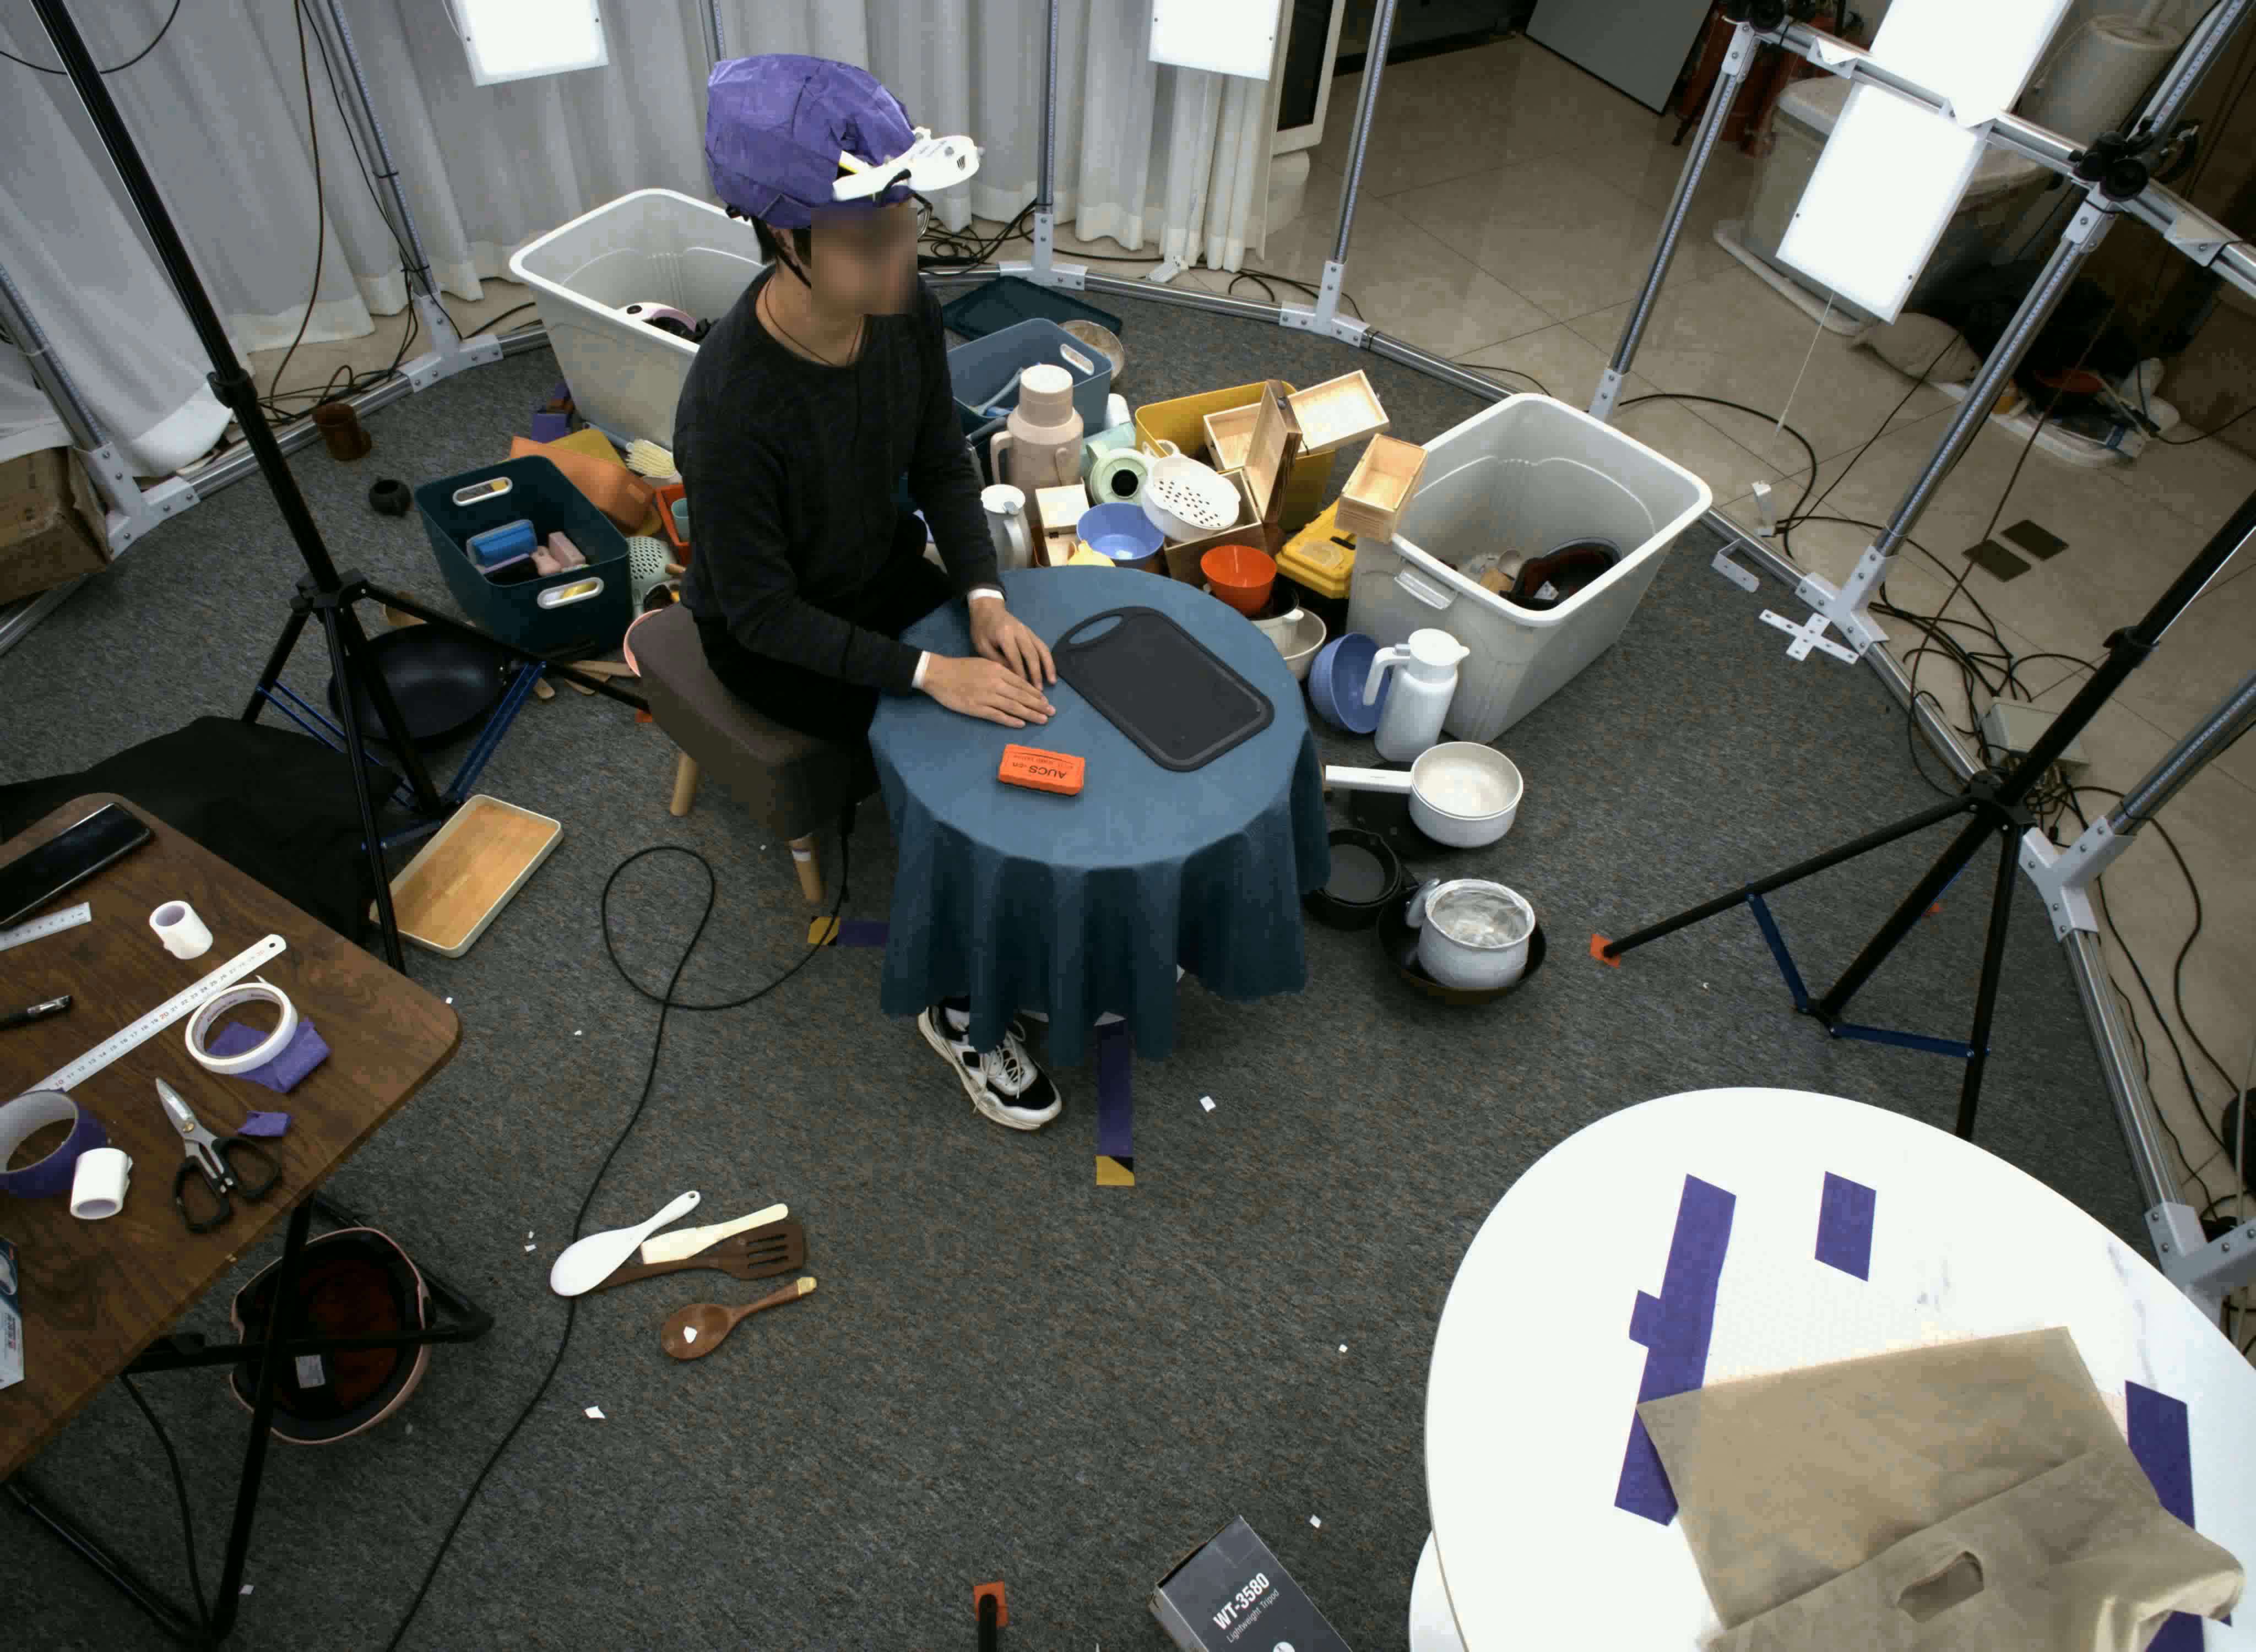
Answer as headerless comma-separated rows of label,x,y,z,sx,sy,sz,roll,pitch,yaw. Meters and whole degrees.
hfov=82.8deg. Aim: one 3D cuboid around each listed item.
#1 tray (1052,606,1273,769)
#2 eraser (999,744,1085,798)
tray,0.041,-0.211,1.851,0.212,0.009,0.331,-30,57,-26
eraser,-0.114,-0.074,1.711,0.108,0.022,0.060,12,48,6
